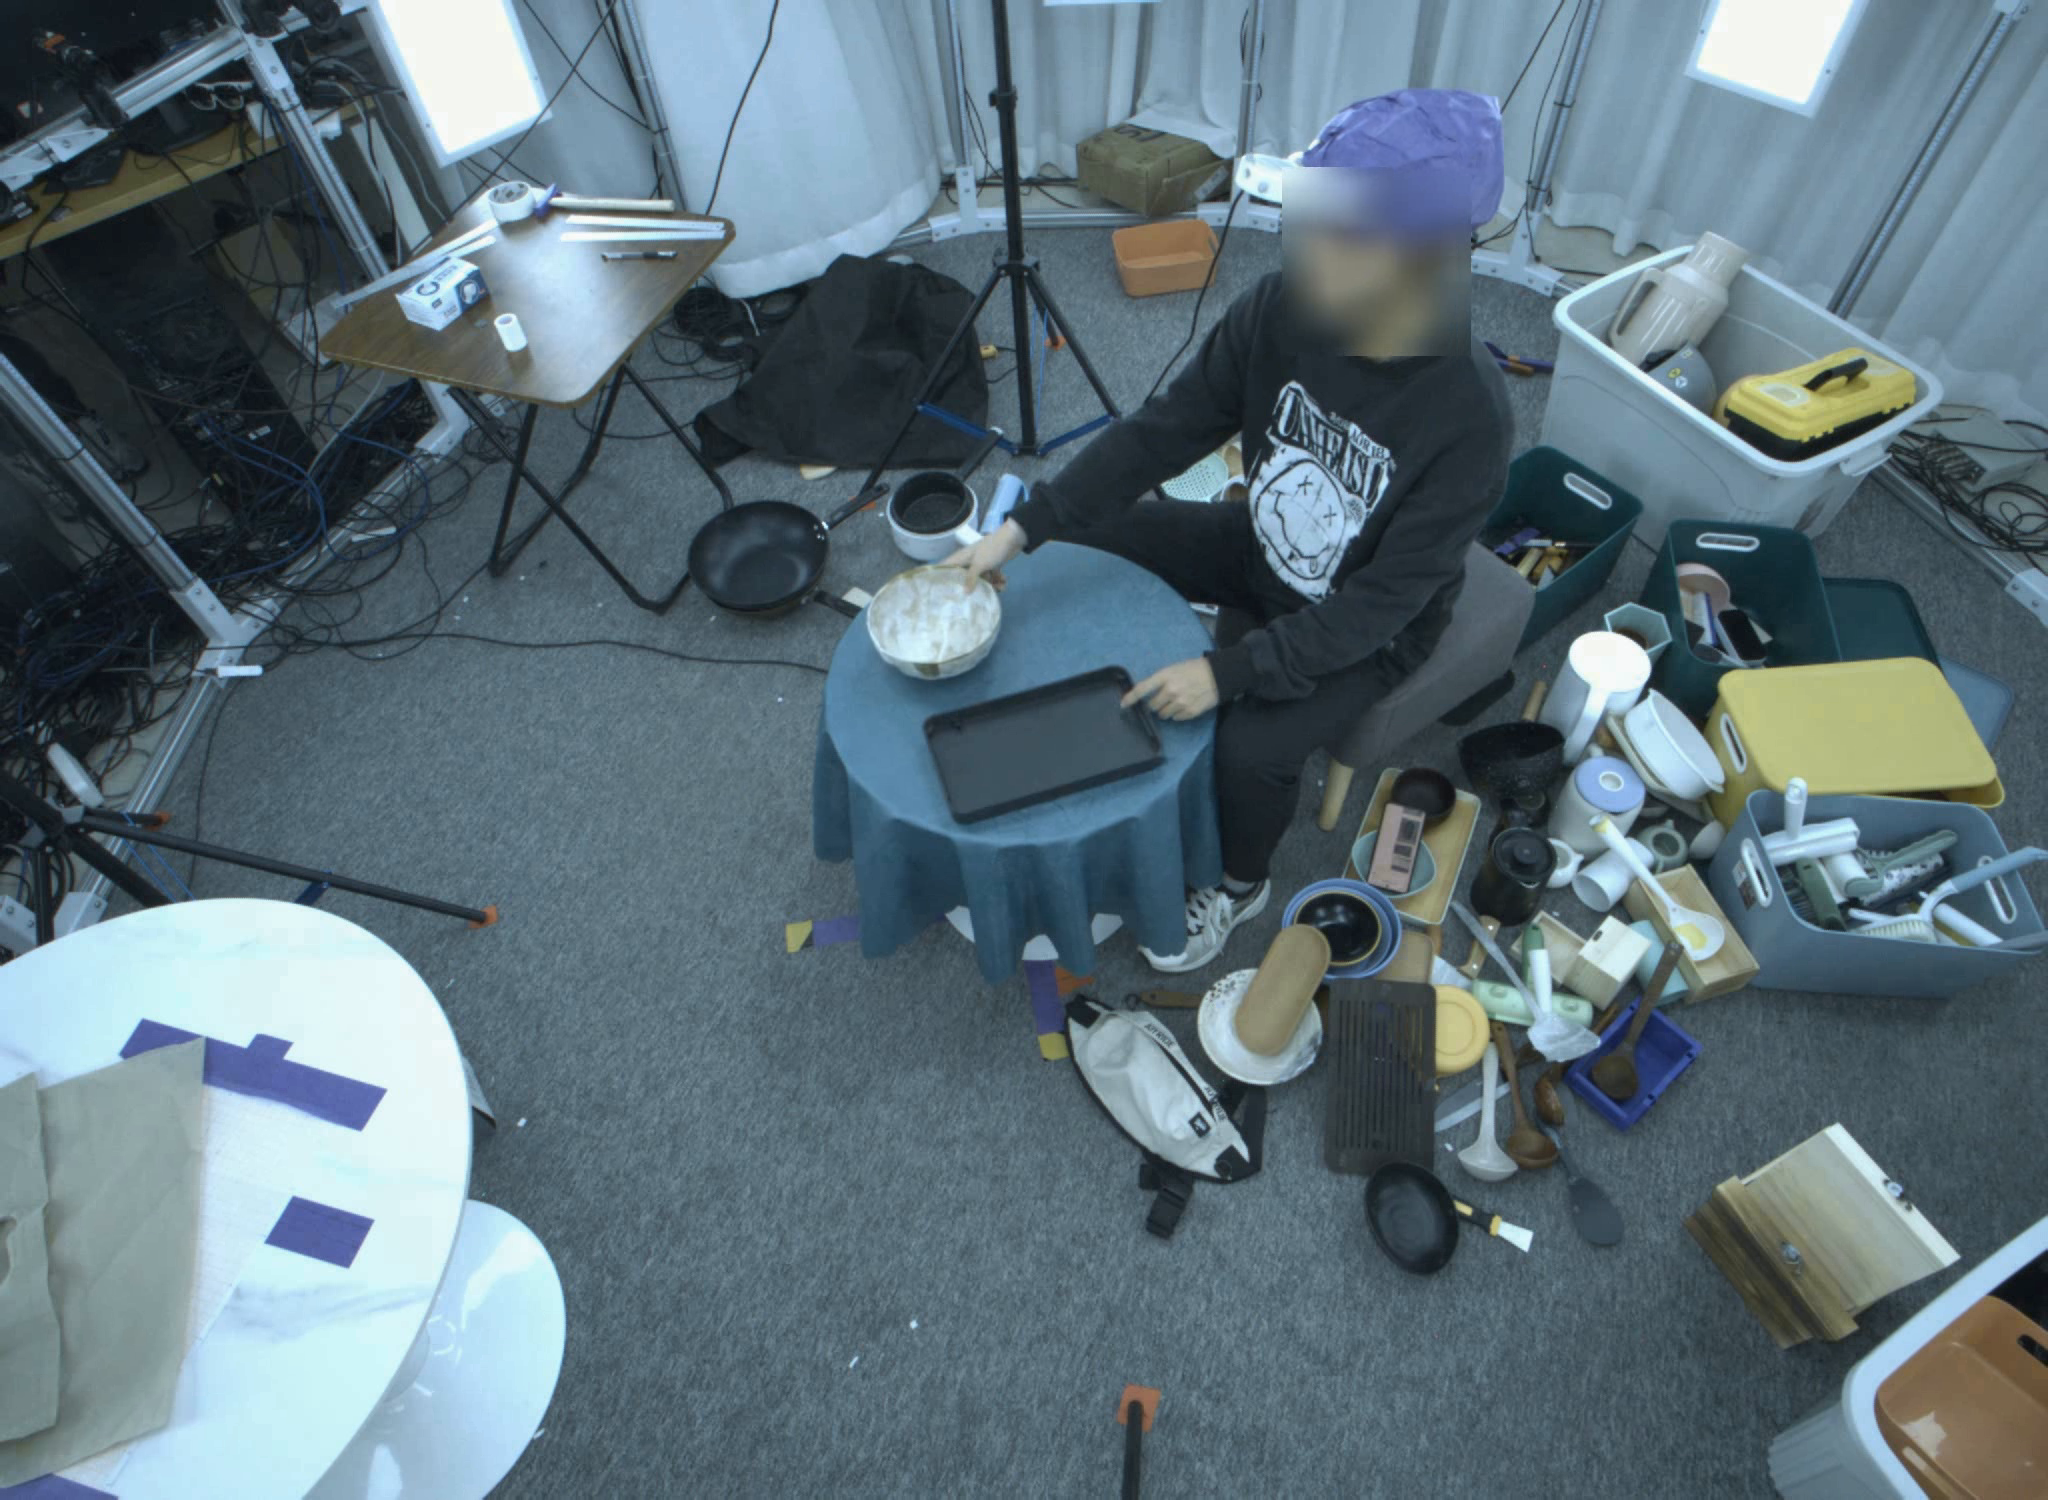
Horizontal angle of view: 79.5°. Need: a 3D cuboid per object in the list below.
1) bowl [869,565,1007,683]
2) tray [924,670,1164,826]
[{"bbox_3d":[-0.125,-0.175,1.868,0.214,0.095,0.212,-1,54,3],"label":"bowl"},{"bbox_3d":[0.027,-0.006,1.777,0.320,0.037,0.181,-15,55,-10],"label":"tray"}]
